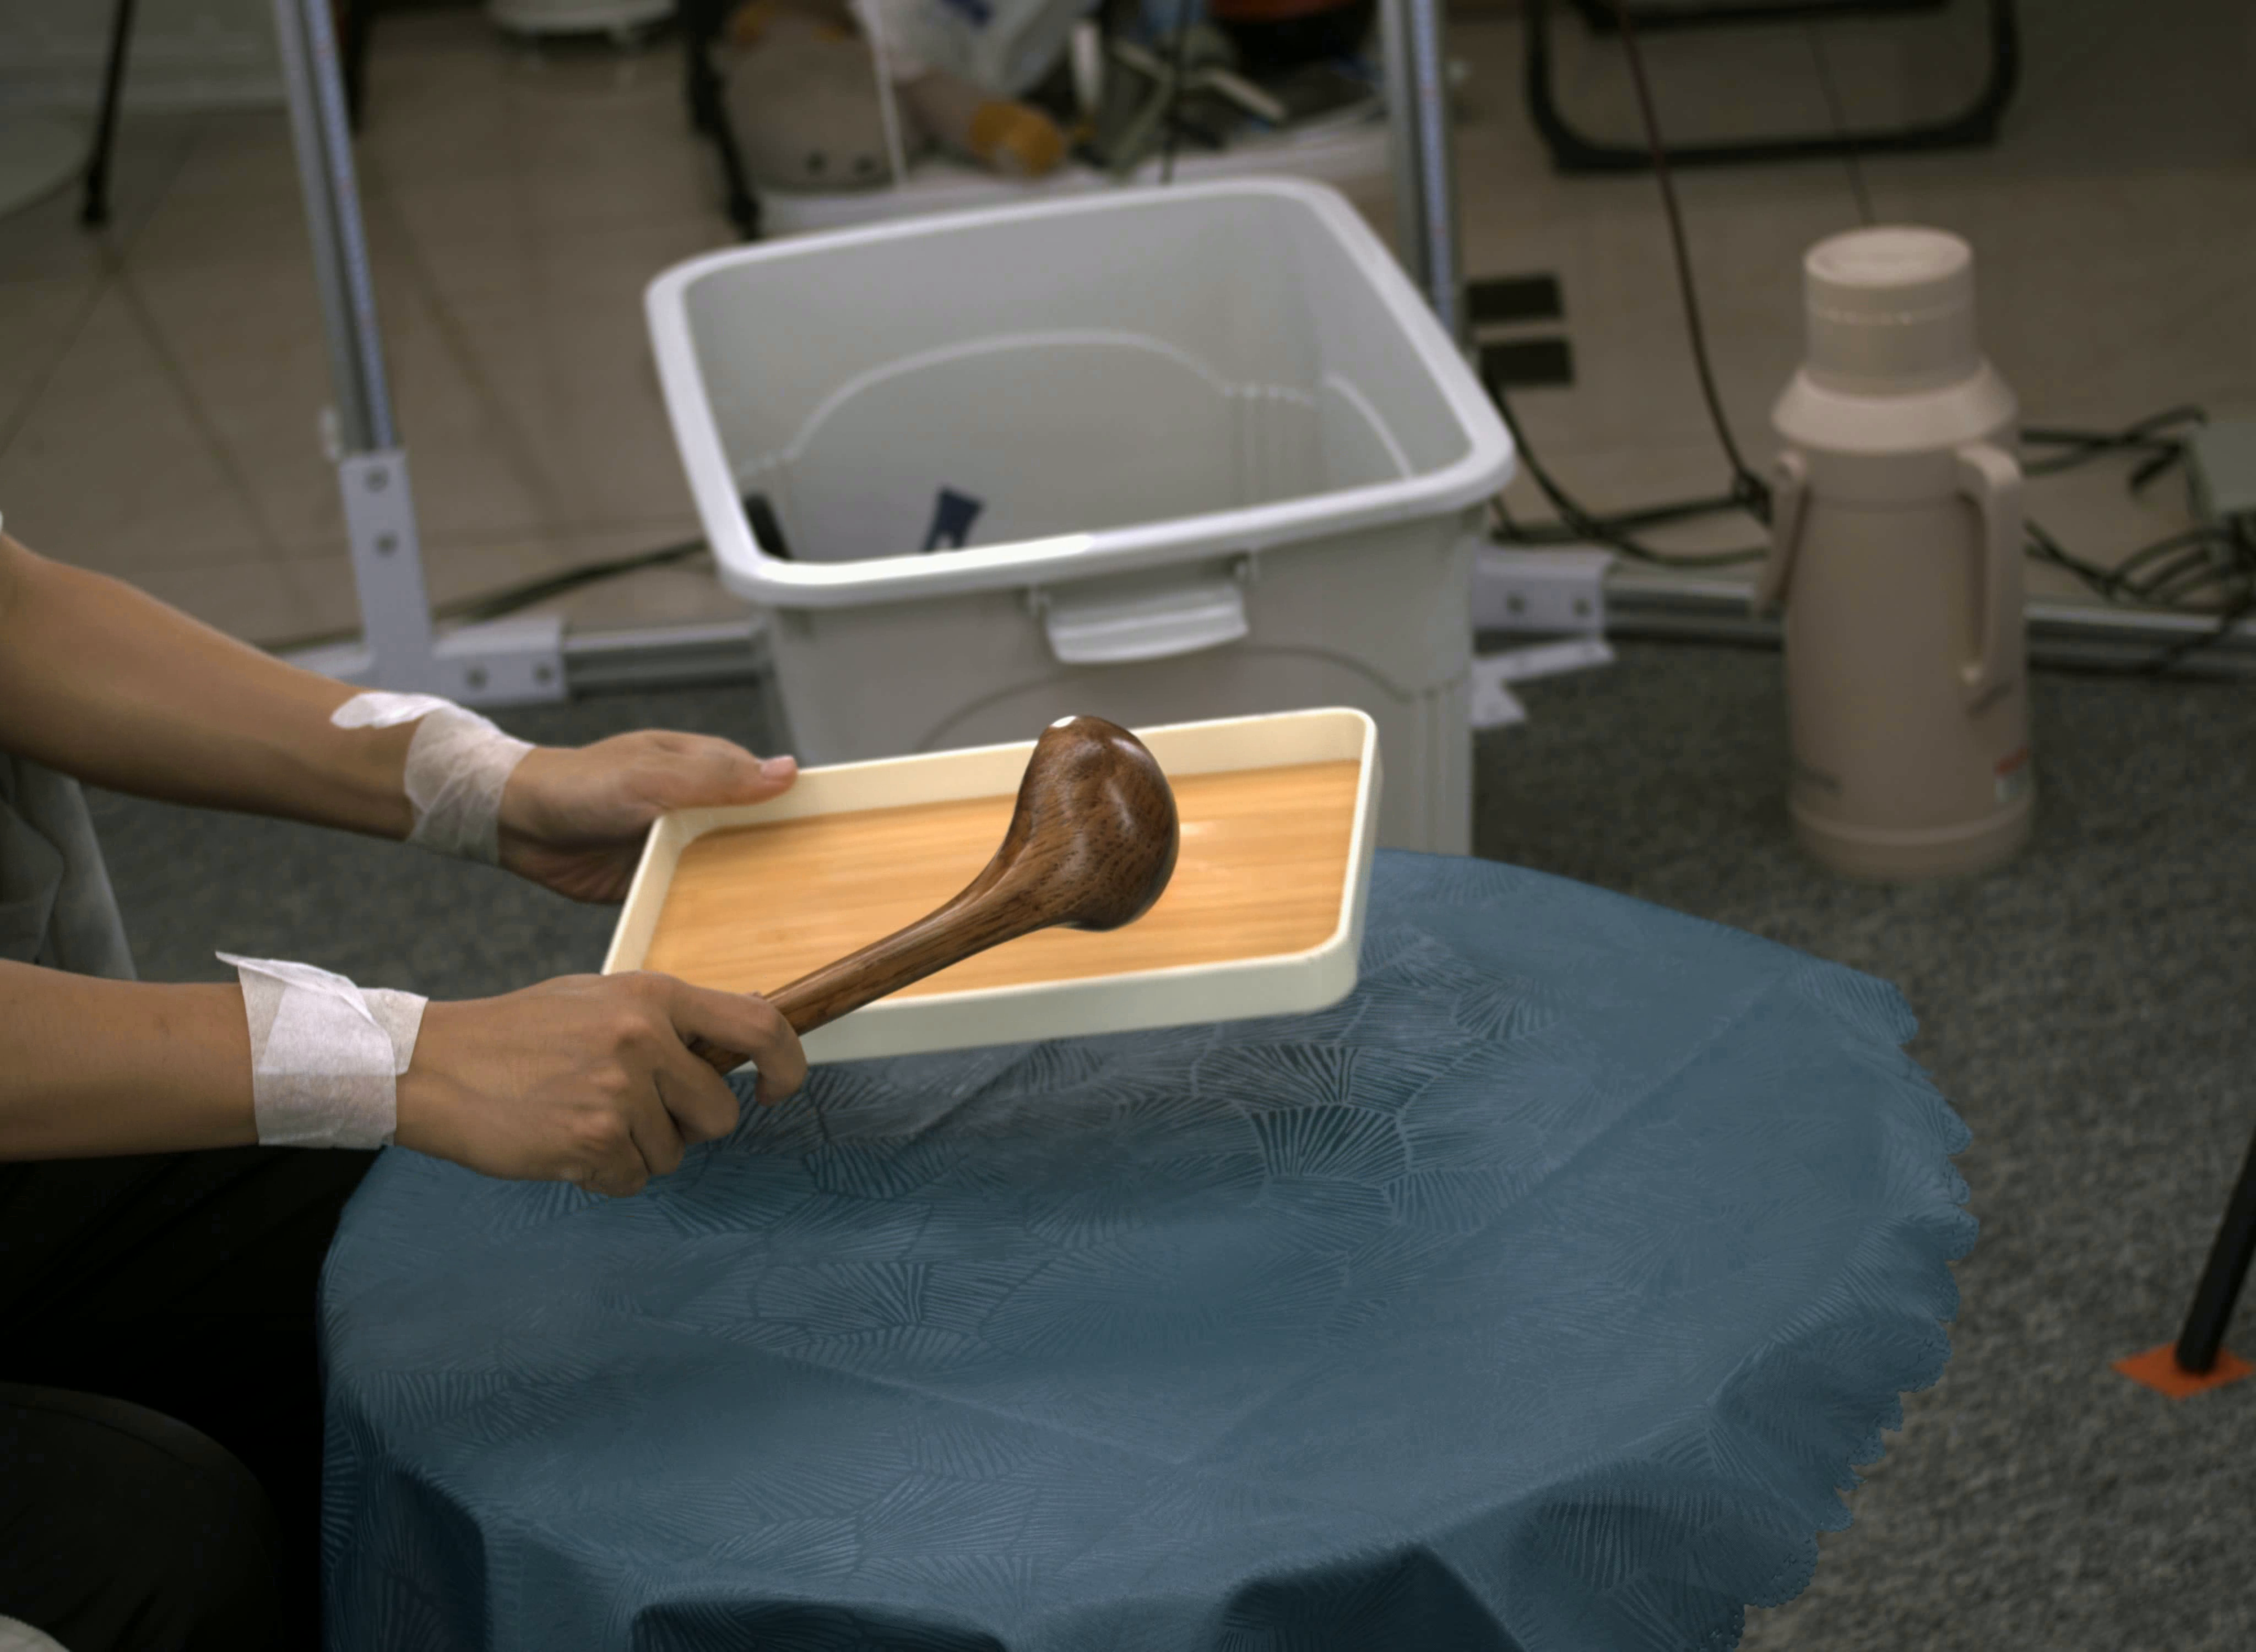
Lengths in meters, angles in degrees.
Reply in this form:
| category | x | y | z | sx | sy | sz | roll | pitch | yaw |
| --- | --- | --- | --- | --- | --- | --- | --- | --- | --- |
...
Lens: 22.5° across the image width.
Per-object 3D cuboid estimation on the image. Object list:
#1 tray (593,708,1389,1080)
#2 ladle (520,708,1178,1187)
| category | x | y | z | sx | sy | sz | roll | pitch | yaw |
| --- | --- | --- | --- | --- | --- | --- | --- | --- | --- |
| tray | -0.051 | 0.026 | 2.233 | 0.300 | 0.028 | 0.188 | -6 | 31 | 11 |
| ladle | -0.104 | 0.046 | 2.081 | 0.273 | 0.083 | 0.076 | -28 | 18 | -3 |
